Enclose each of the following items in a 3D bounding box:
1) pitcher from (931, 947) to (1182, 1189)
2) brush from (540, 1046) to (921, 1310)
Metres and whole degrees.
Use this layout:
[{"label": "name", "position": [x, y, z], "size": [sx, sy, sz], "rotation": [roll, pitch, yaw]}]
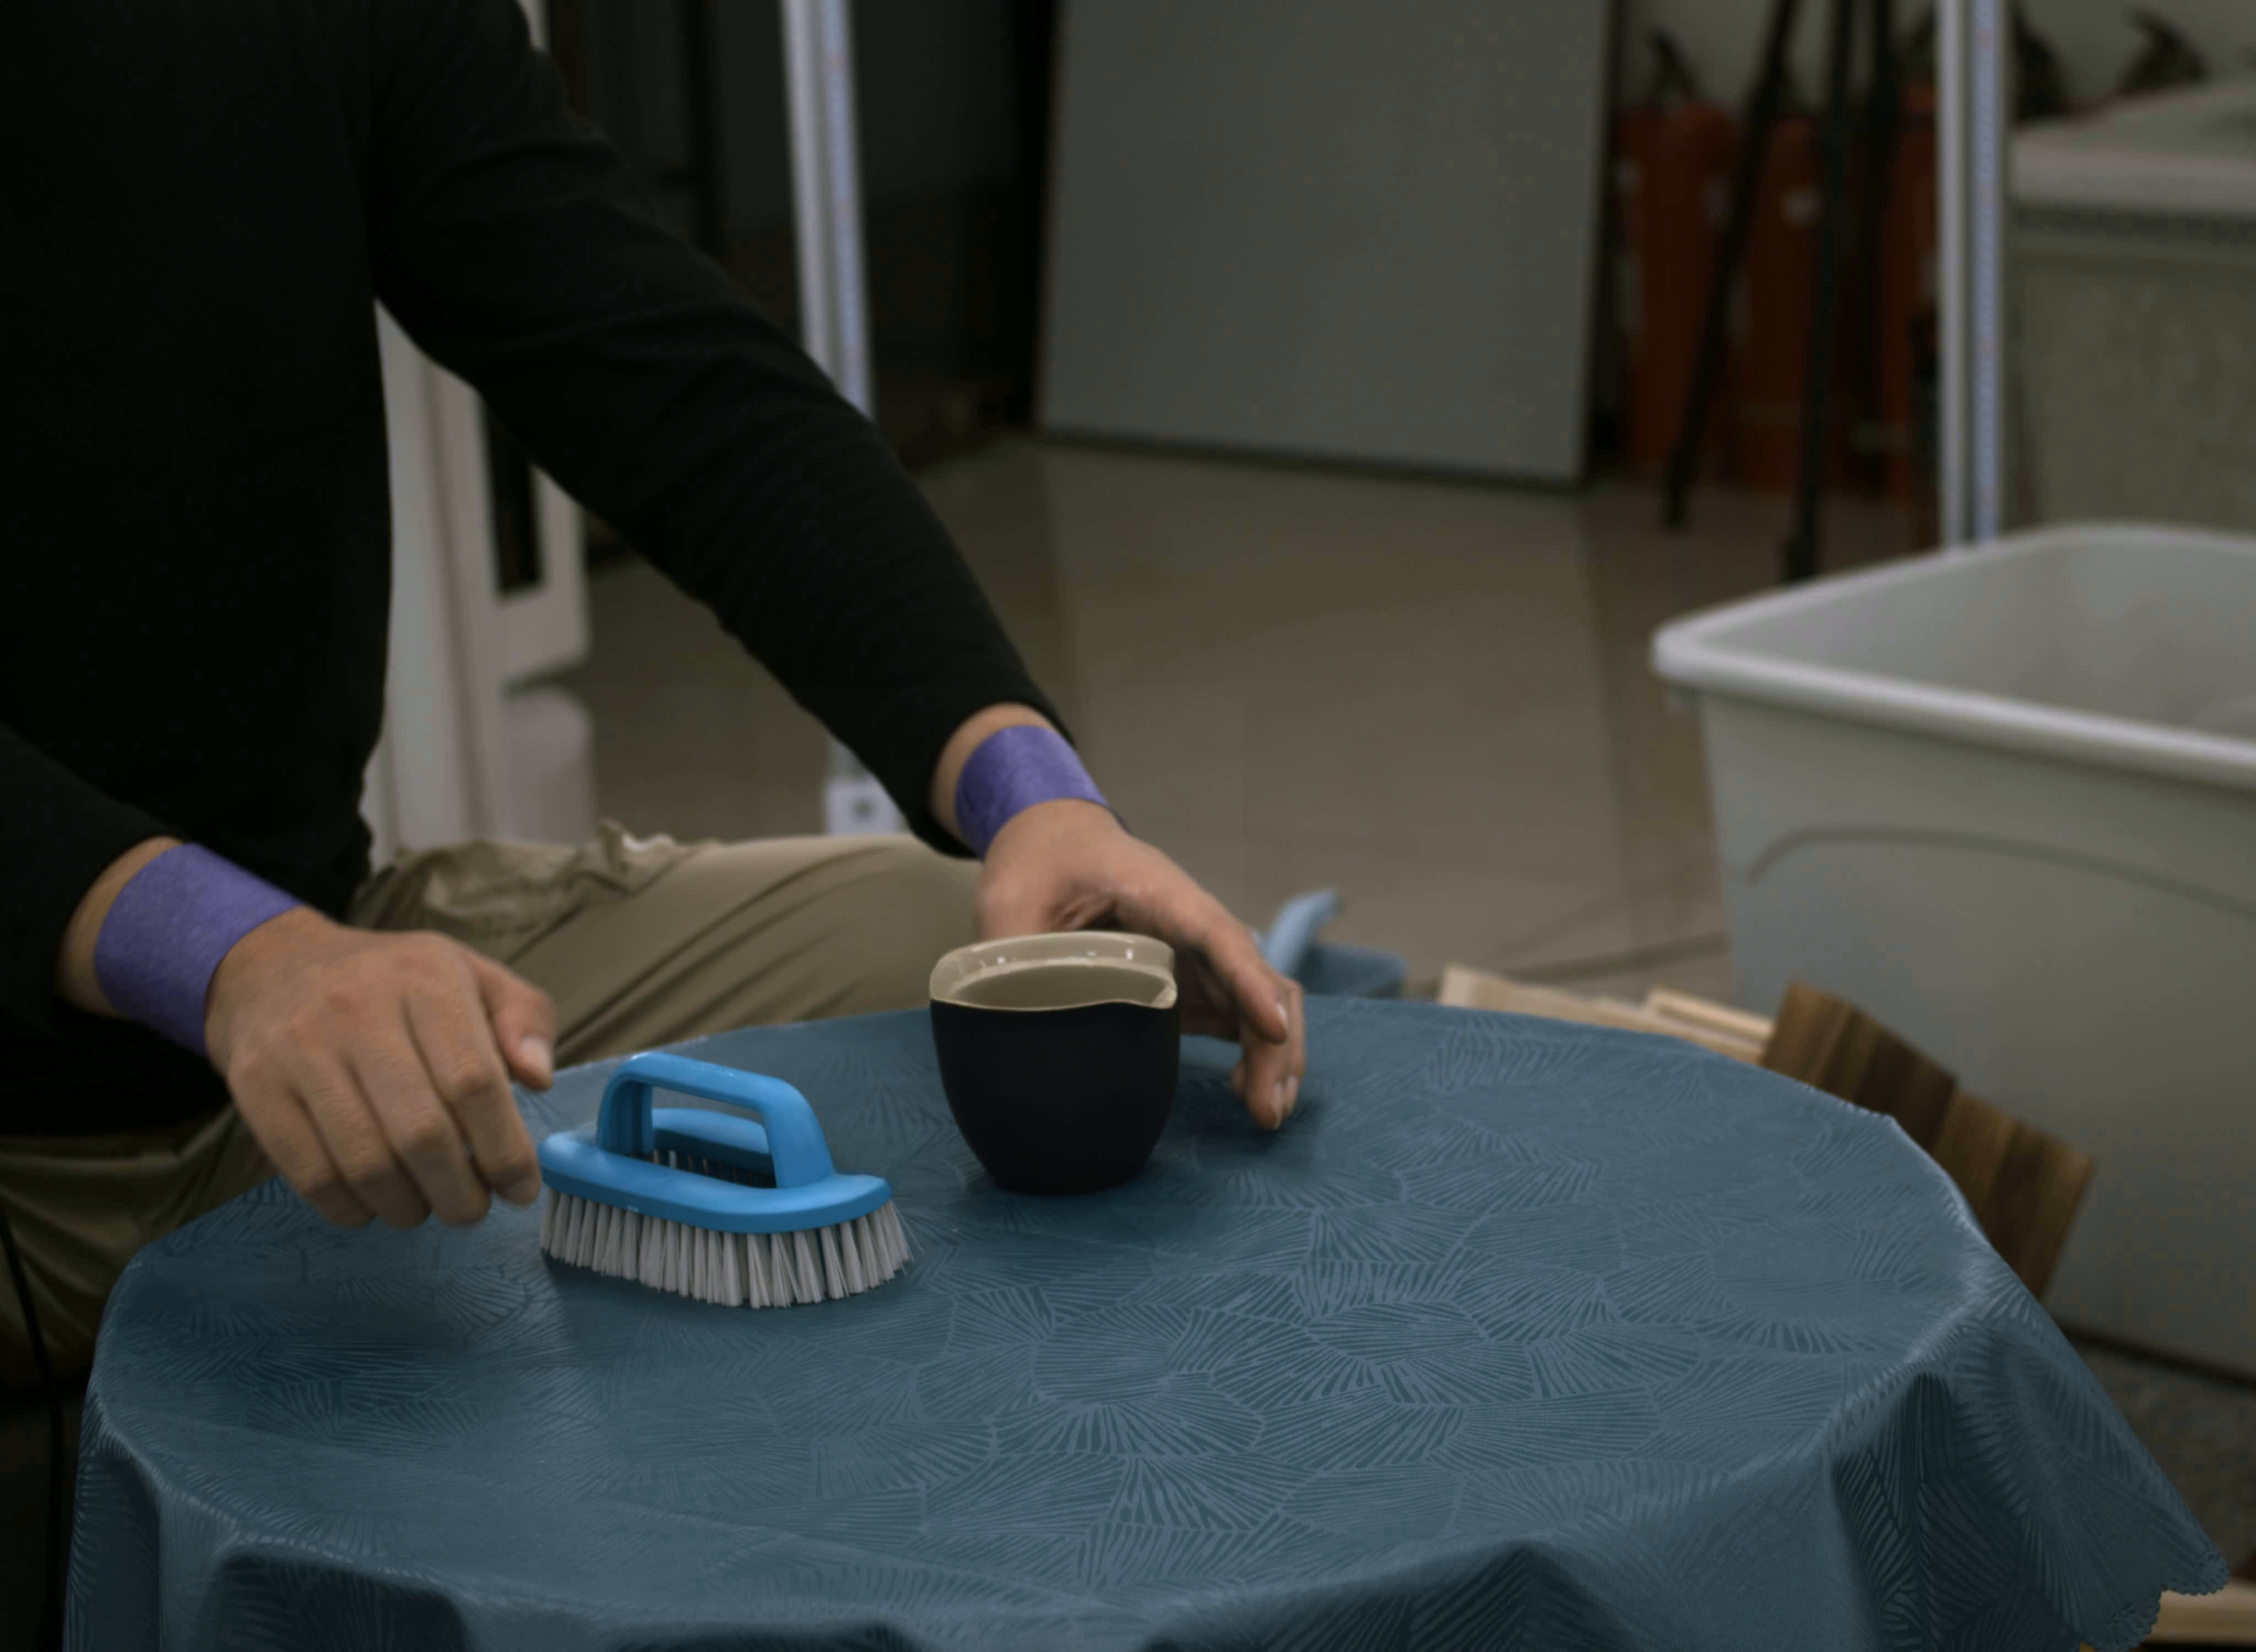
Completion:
[{"label": "pitcher", "position": [-0.020, 0.080, 1.785], "size": [0.082, 0.072, 0.097], "rotation": [-12, 17, -35]}, {"label": "brush", "position": [-0.131, 0.105, 1.730], "size": [0.083, 0.064, 0.143], "rotation": [-22, 21, -41]}]
